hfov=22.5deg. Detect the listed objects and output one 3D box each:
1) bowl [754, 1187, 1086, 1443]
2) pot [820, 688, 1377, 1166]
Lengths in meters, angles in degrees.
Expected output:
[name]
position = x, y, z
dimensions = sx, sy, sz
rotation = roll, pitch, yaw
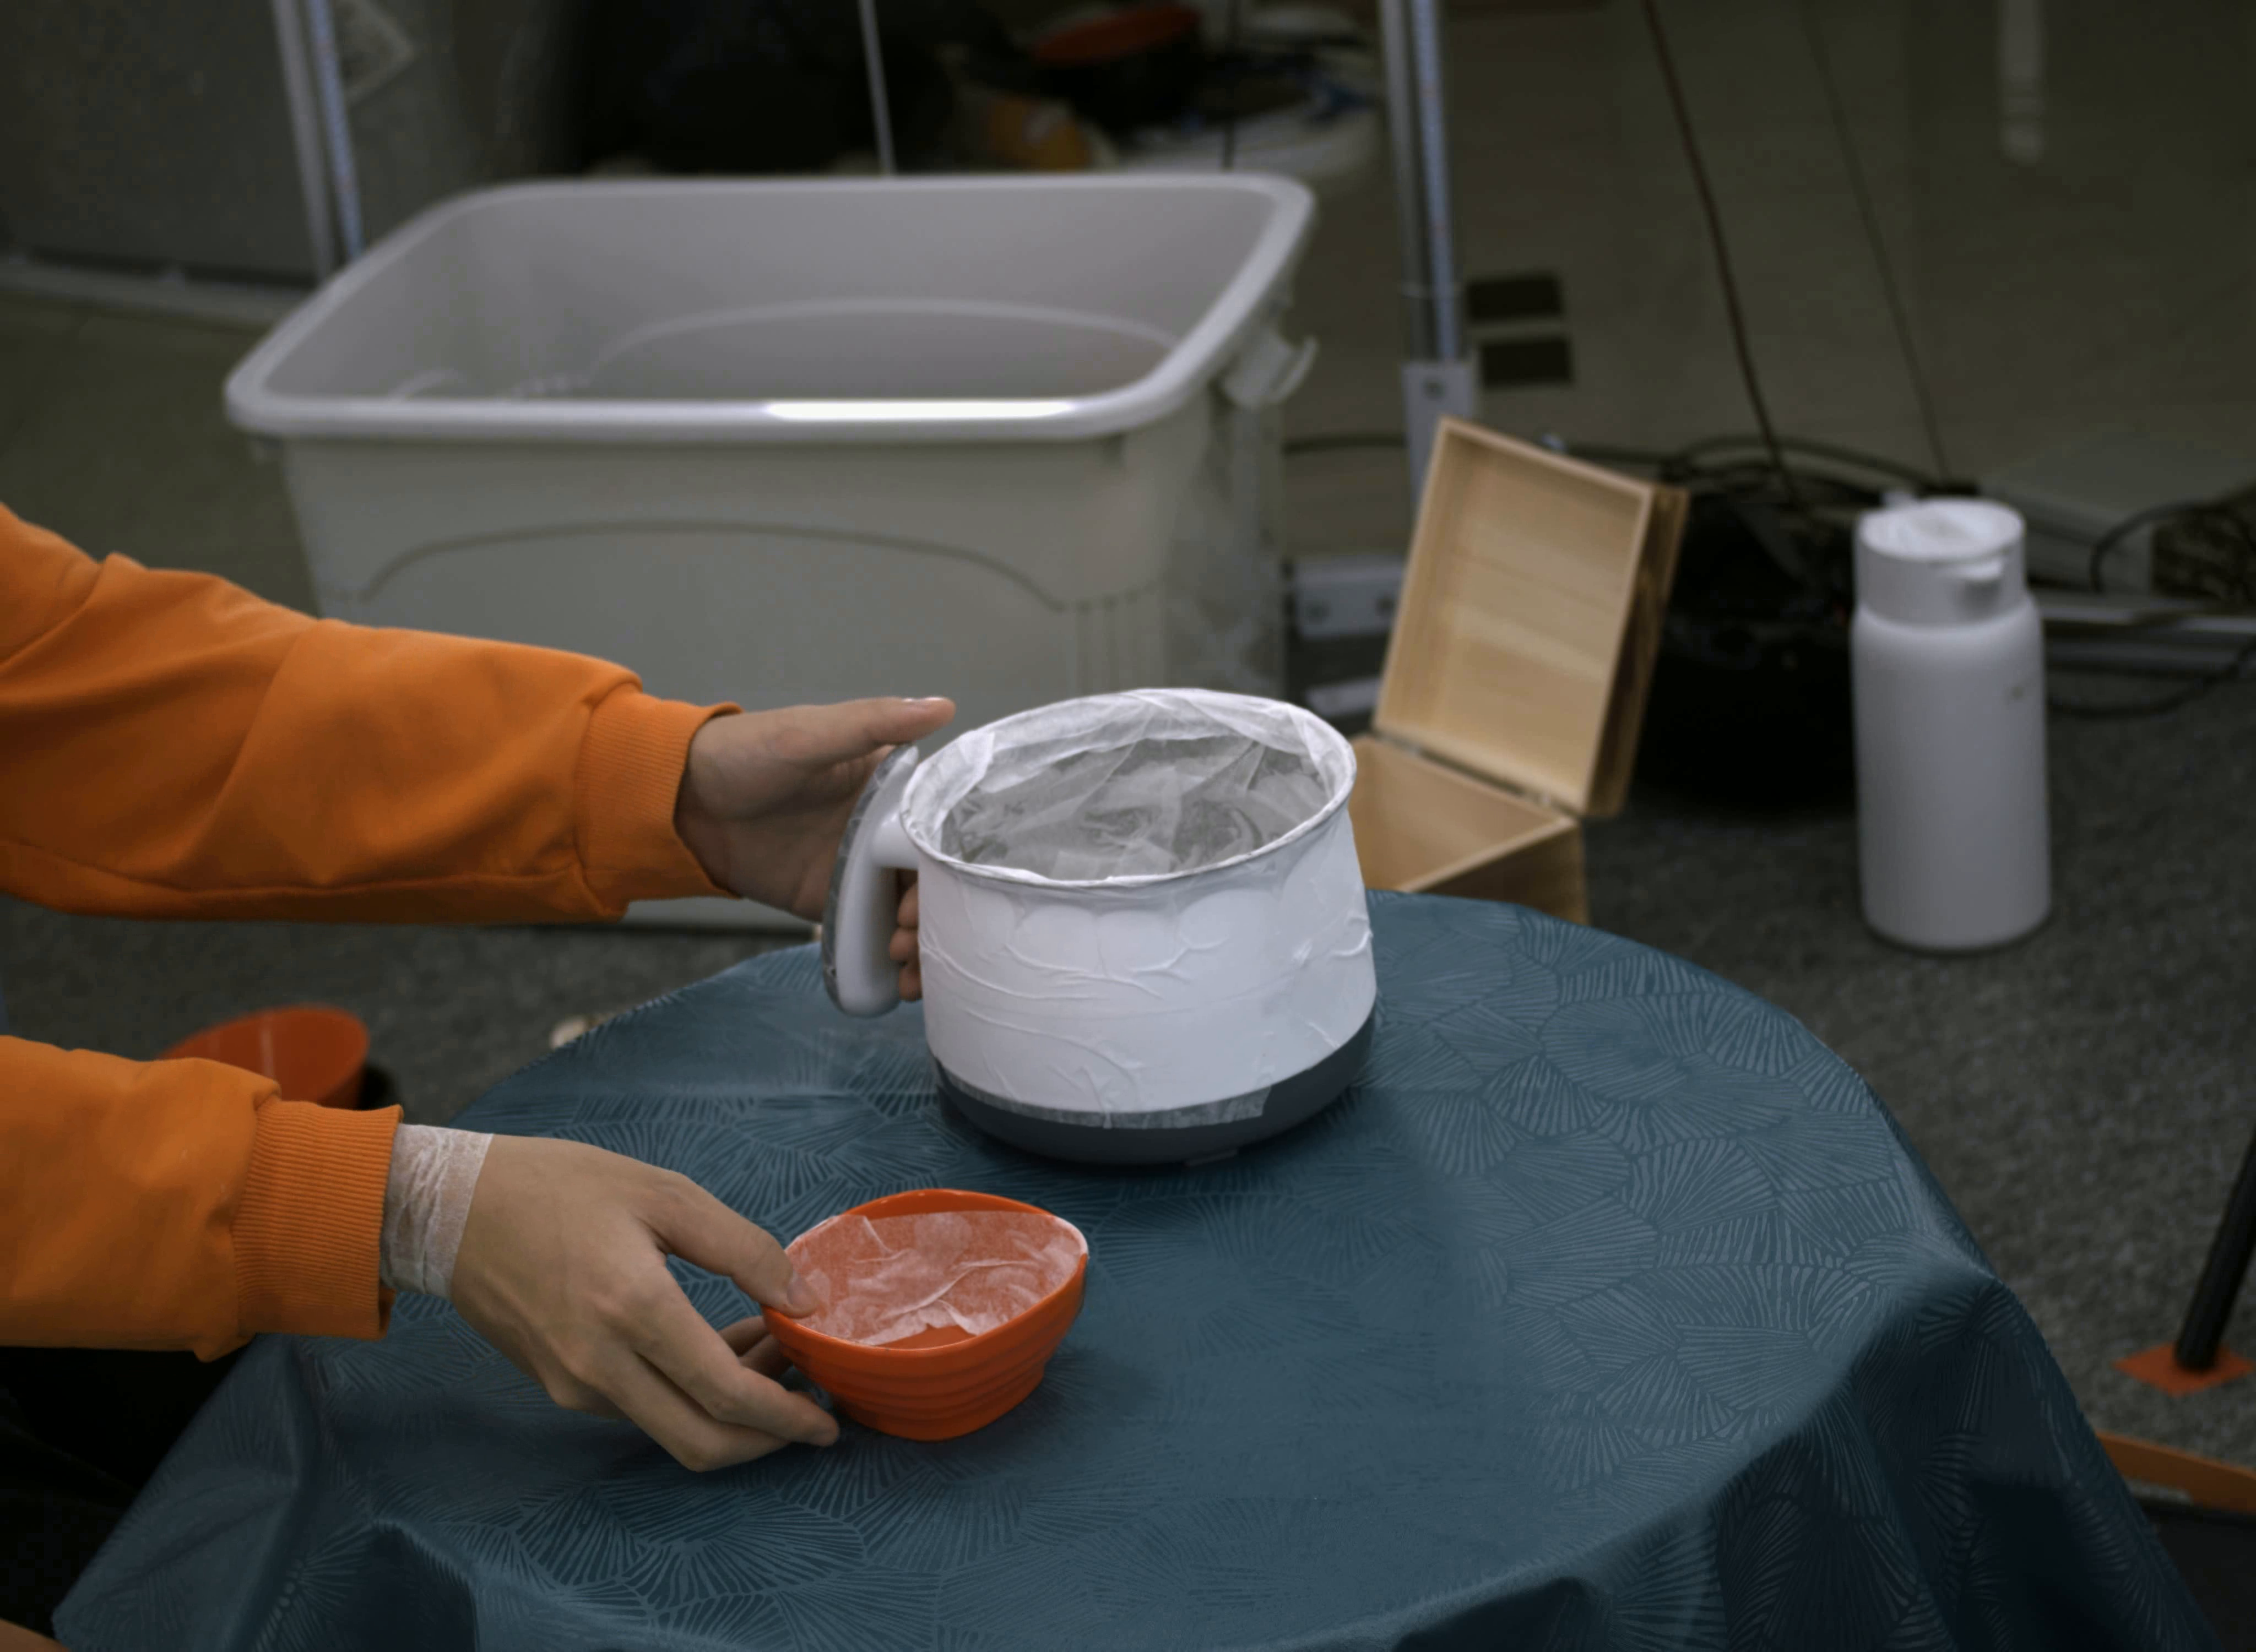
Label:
[bowl]
position = -0.071, 0.178, 2.020
dimensions = 0.119, 0.052, 0.117
rotation = -5, 26, 3
[pot]
position = -0.019, 0.038, 2.203
dimensions = 0.233, 0.139, 0.176
rotation = 7, 28, 26
